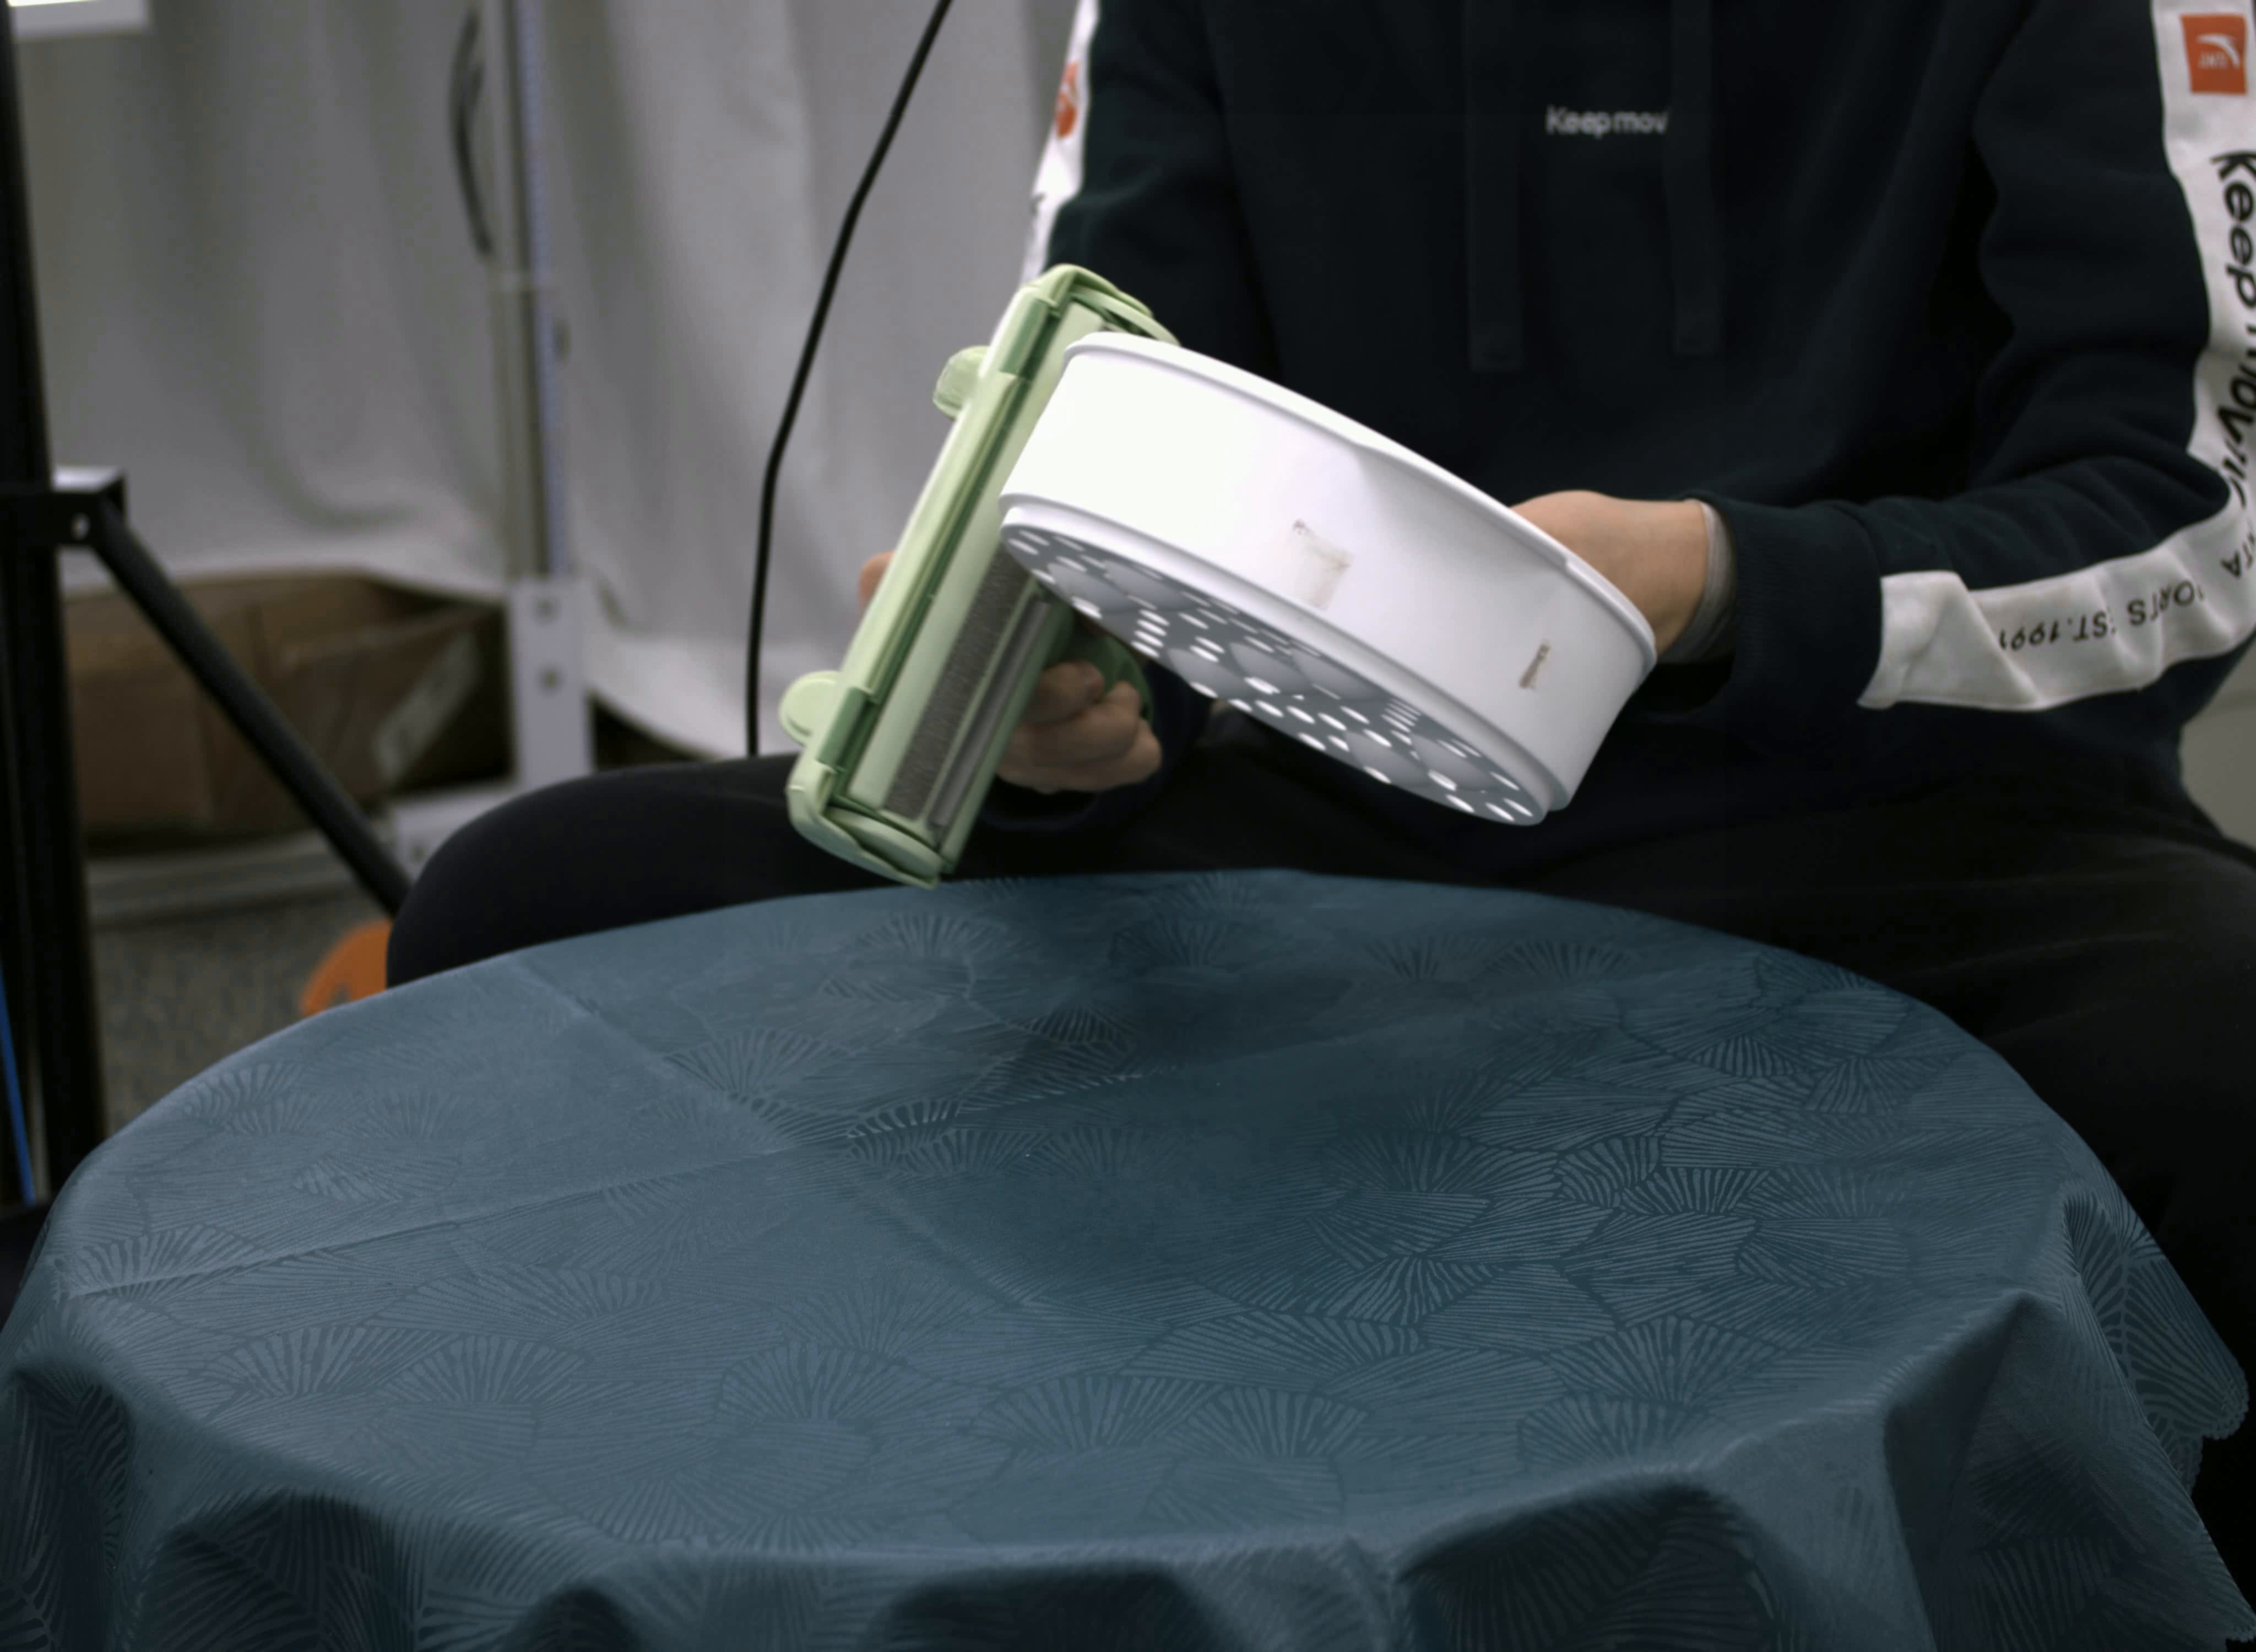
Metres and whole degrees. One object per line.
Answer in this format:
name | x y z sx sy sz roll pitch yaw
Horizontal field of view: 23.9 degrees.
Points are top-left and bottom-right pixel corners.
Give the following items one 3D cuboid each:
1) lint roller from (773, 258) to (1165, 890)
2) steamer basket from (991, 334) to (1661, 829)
lint roller | -0.045 -0.068 1.724 0.083 0.199 0.181 21 -10 14
steamer basket | 0.057 -0.068 1.585 0.199 0.069 0.233 29 -5 -14
